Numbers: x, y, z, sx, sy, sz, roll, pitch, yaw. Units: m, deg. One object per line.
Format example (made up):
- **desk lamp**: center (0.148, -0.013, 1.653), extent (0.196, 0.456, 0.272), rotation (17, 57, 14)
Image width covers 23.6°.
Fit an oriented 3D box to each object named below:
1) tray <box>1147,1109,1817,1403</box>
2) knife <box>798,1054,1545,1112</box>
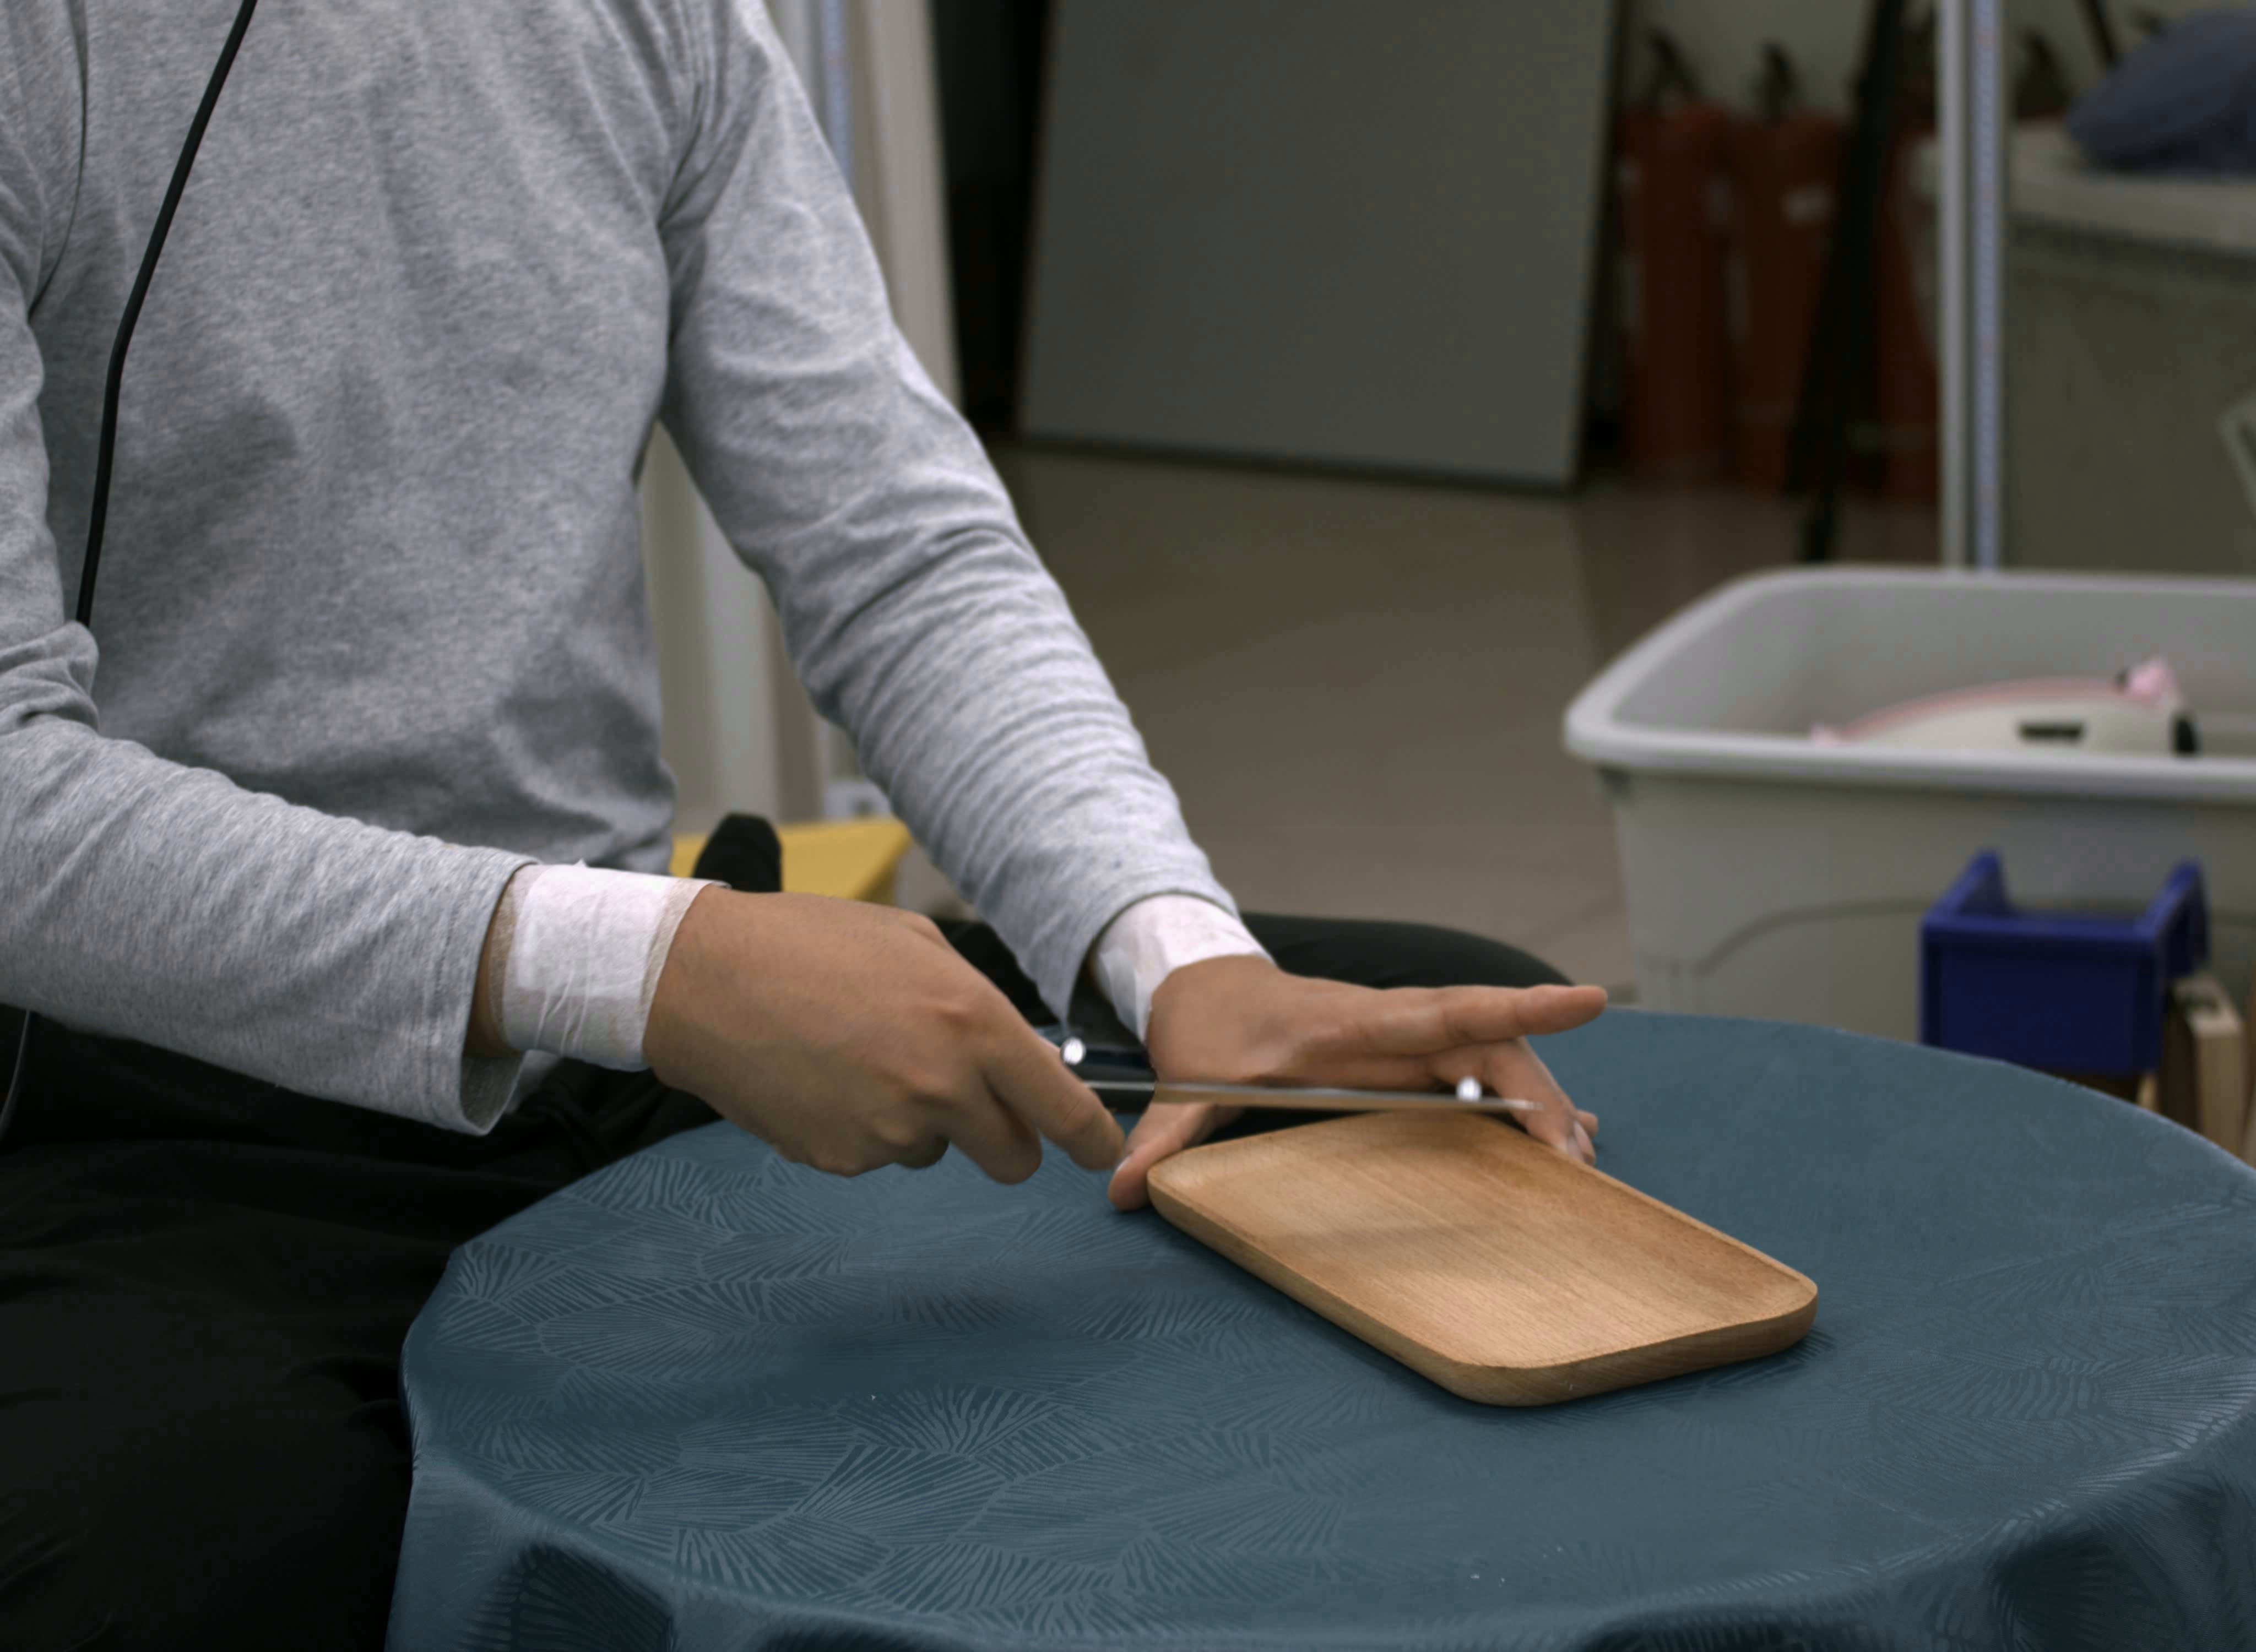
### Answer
- **tray**: center (0.105, 0.131, 1.670), extent (0.128, 0.023, 0.253), rotation (-7, 12, -22)
- **knife**: center (0.015, 0.082, 1.680), extent (0.234, 0.016, 0.024), rotation (2, -14, -5)
